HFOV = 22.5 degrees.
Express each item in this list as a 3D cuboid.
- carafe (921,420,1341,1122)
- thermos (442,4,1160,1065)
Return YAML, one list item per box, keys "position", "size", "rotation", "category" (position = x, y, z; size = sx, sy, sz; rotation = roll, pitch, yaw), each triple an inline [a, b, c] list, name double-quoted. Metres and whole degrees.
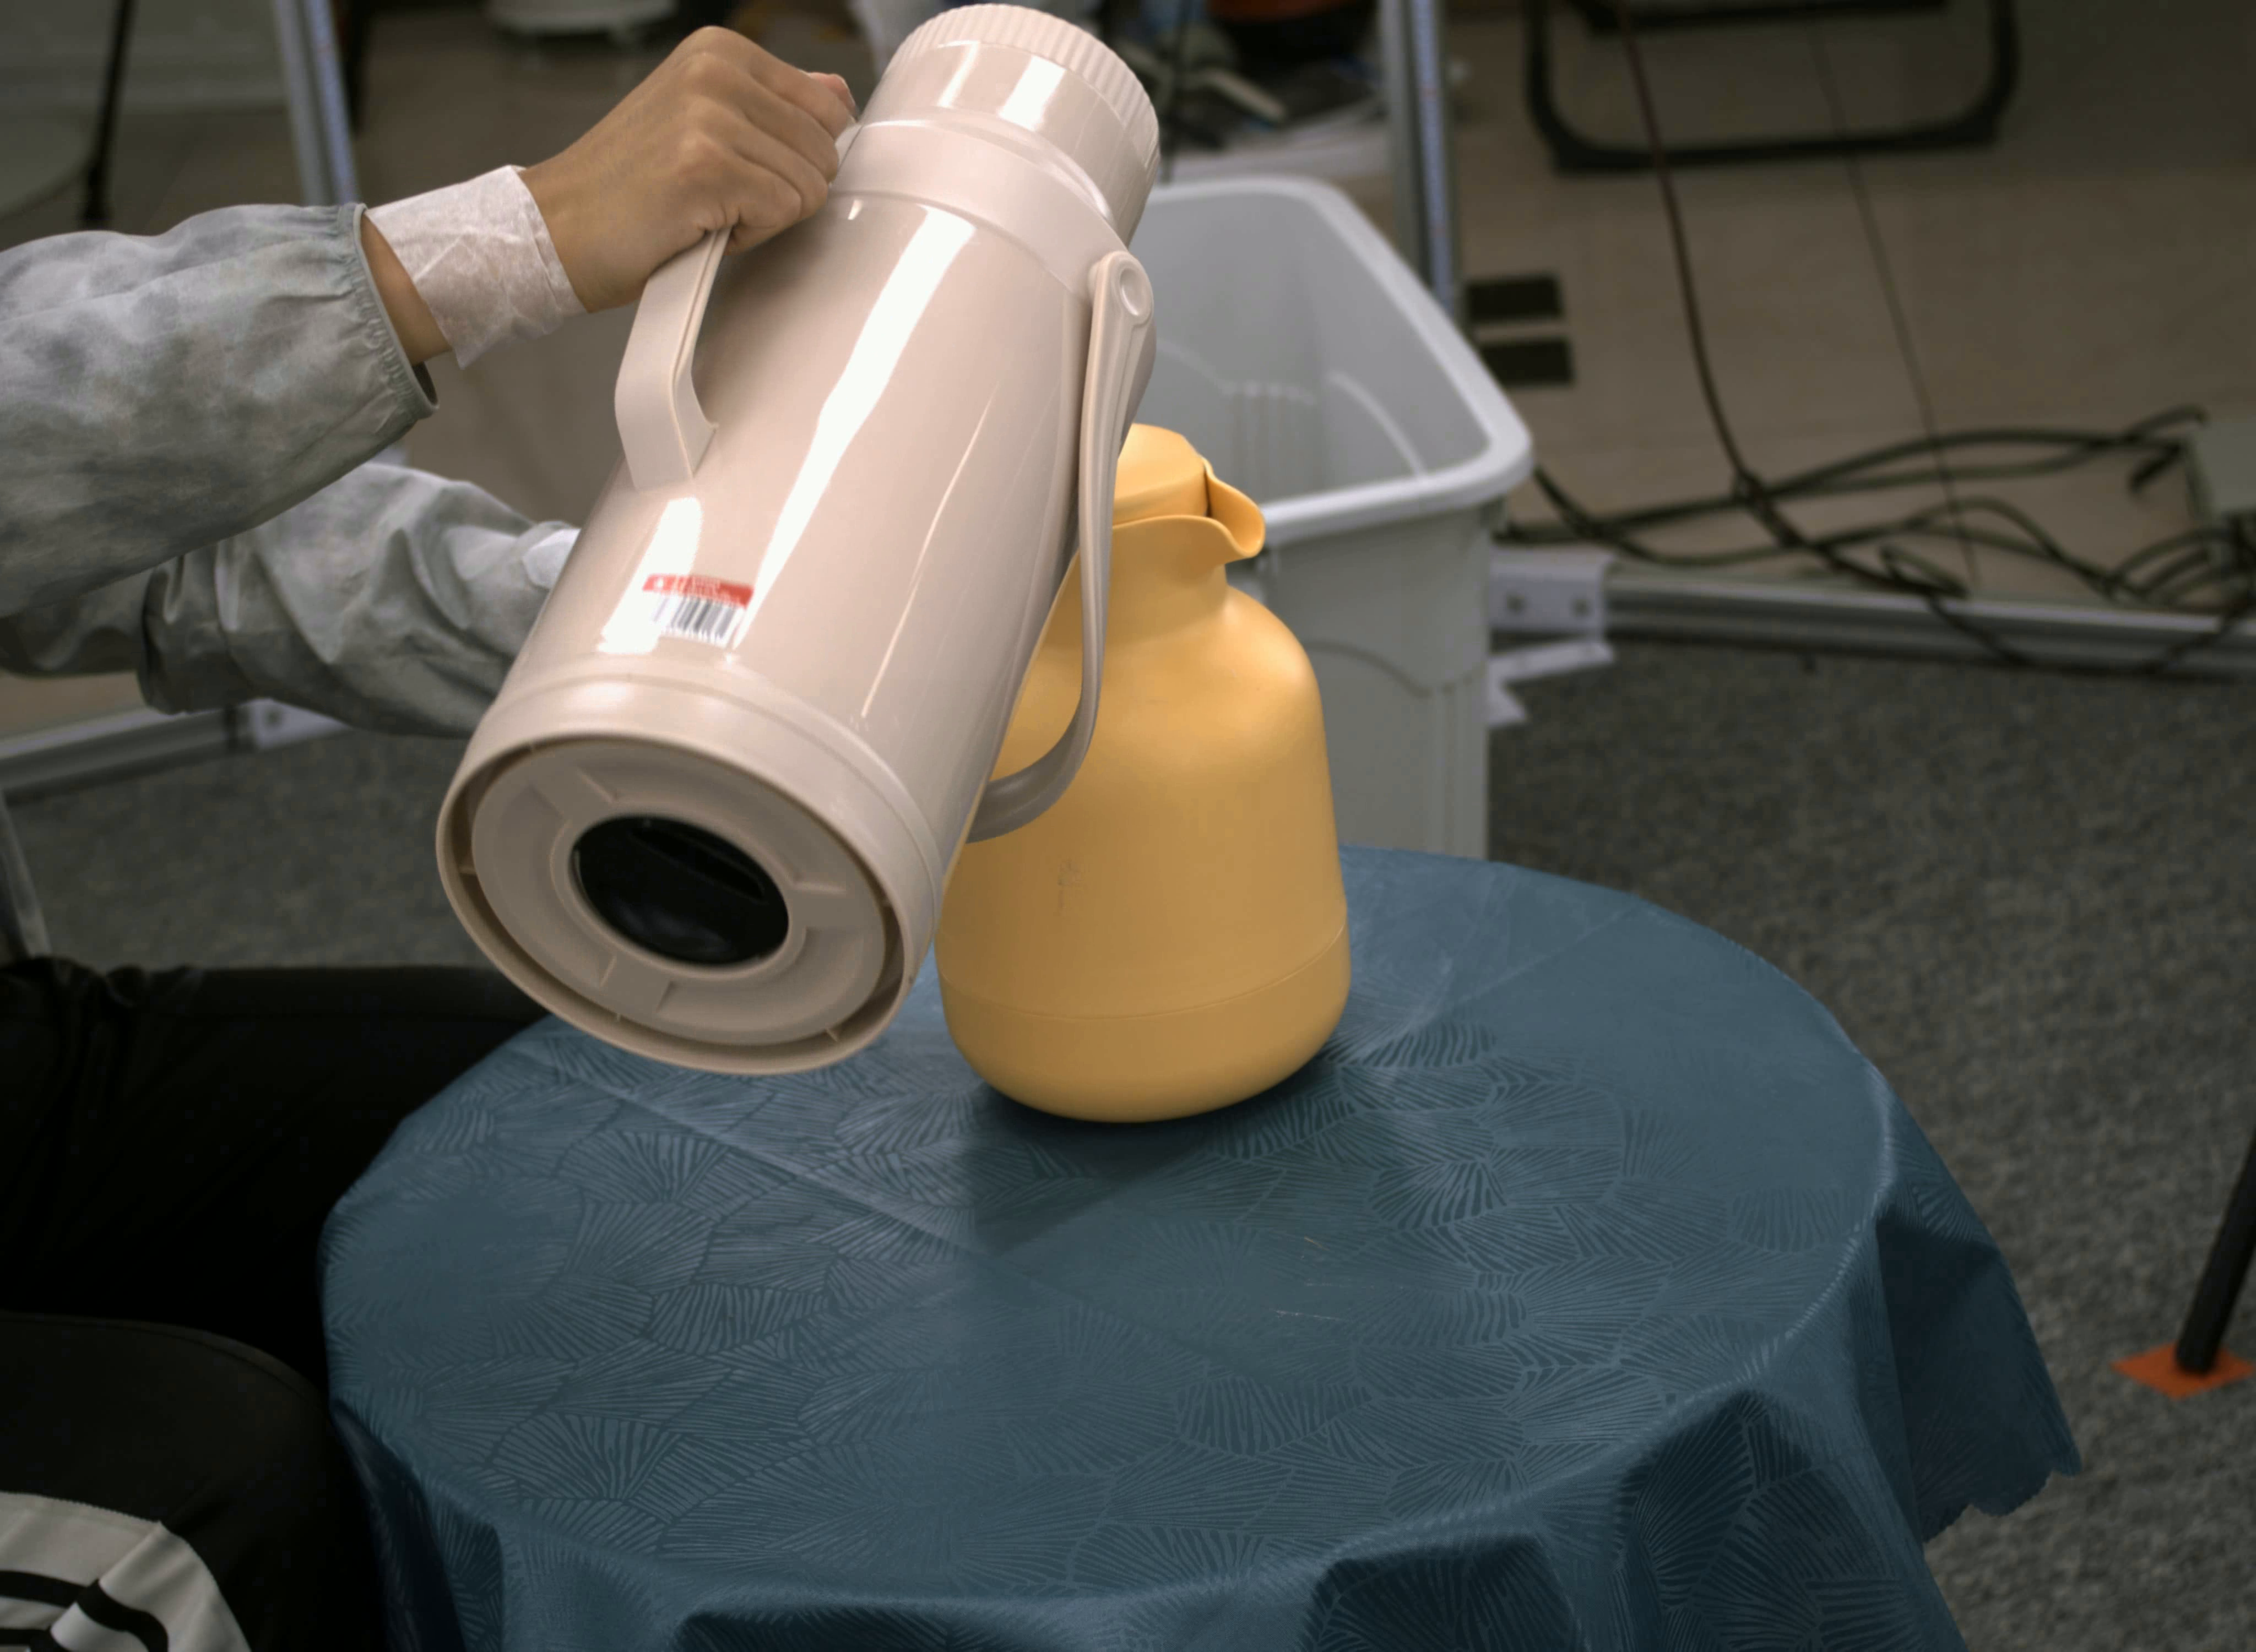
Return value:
- position: [-0.019, -0.030, 2.203]
  size: [0.201, 0.264, 0.162]
  rotation: [13, 30, 33]
  category: "carafe"
- position: [-0.099, -0.126, 1.904]
  size: [0.175, 0.210, 0.399]
  rotation: [-10, 41, 32]
  category: "thermos"
